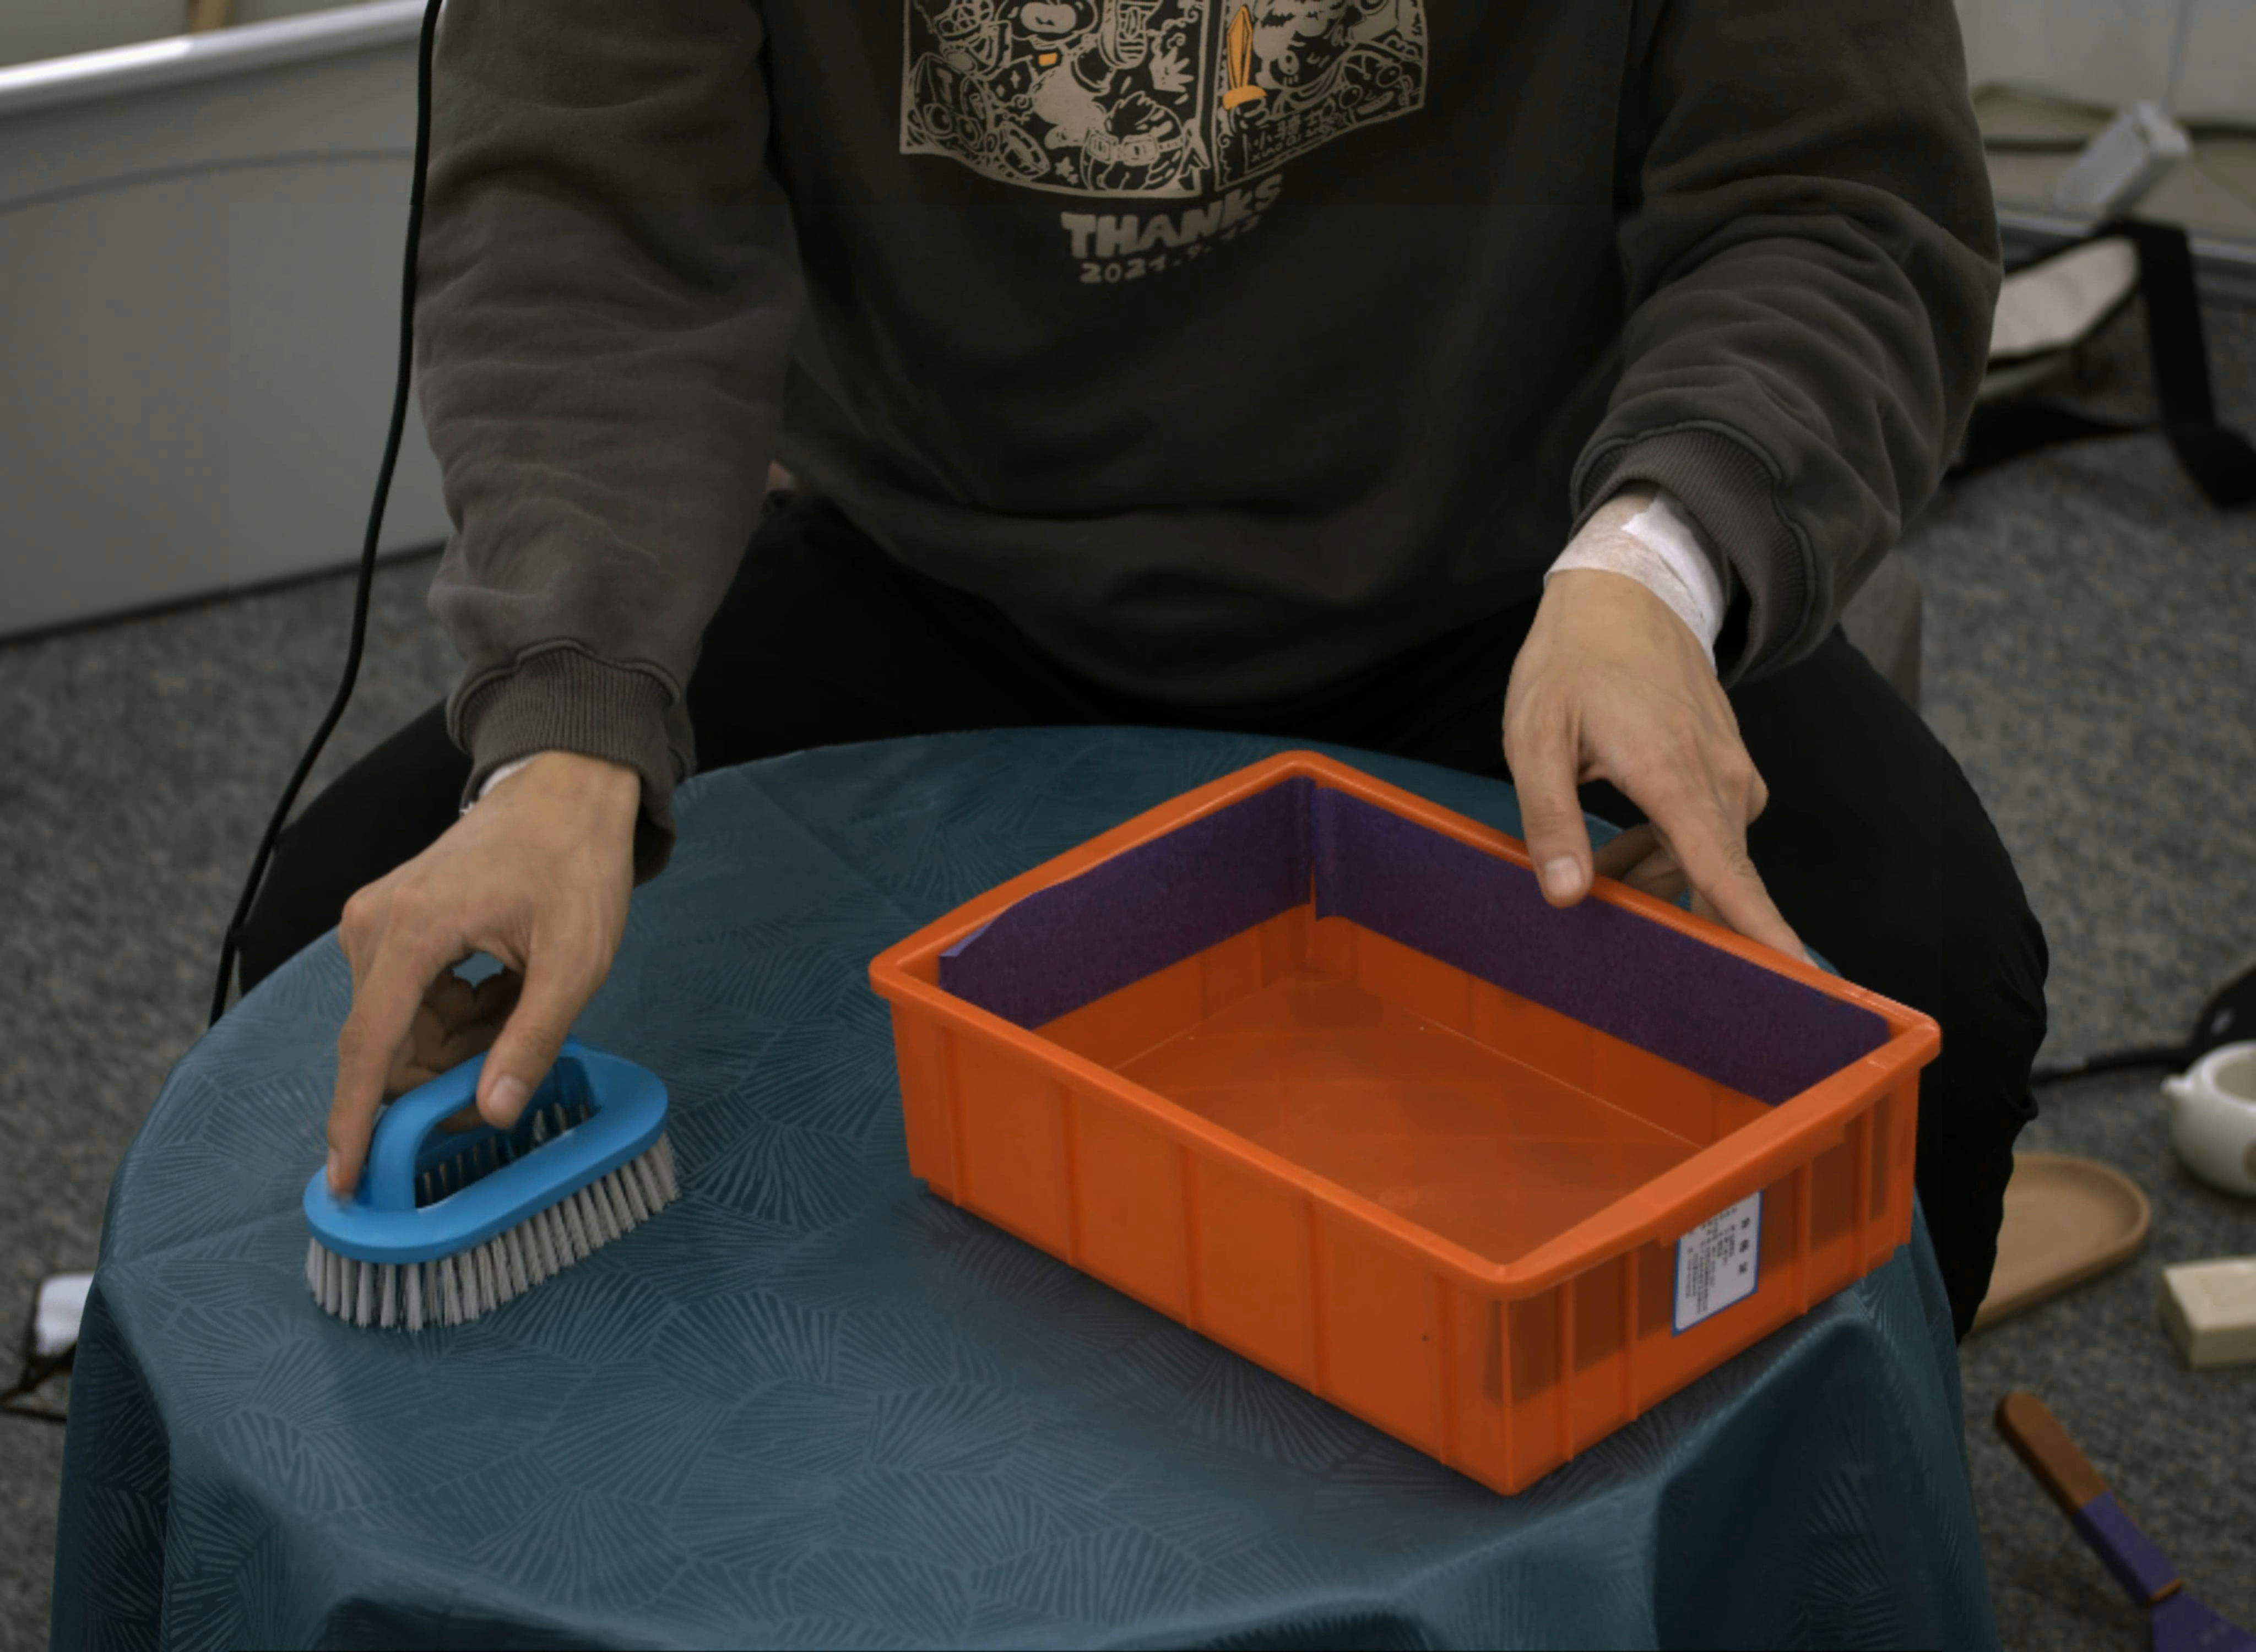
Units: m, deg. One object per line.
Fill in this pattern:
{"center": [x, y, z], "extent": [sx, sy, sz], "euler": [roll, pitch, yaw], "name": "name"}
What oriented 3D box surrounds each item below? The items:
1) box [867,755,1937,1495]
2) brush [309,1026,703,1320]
{"center": [0.086, 0.092, 1.817], "extent": [0.209, 0.095, 0.303], "euler": [-25, 35, -36], "name": "box"}
{"center": [-0.208, 0.106, 1.842], "extent": [0.084, 0.063, 0.143], "euler": [17, 32, 42], "name": "brush"}
